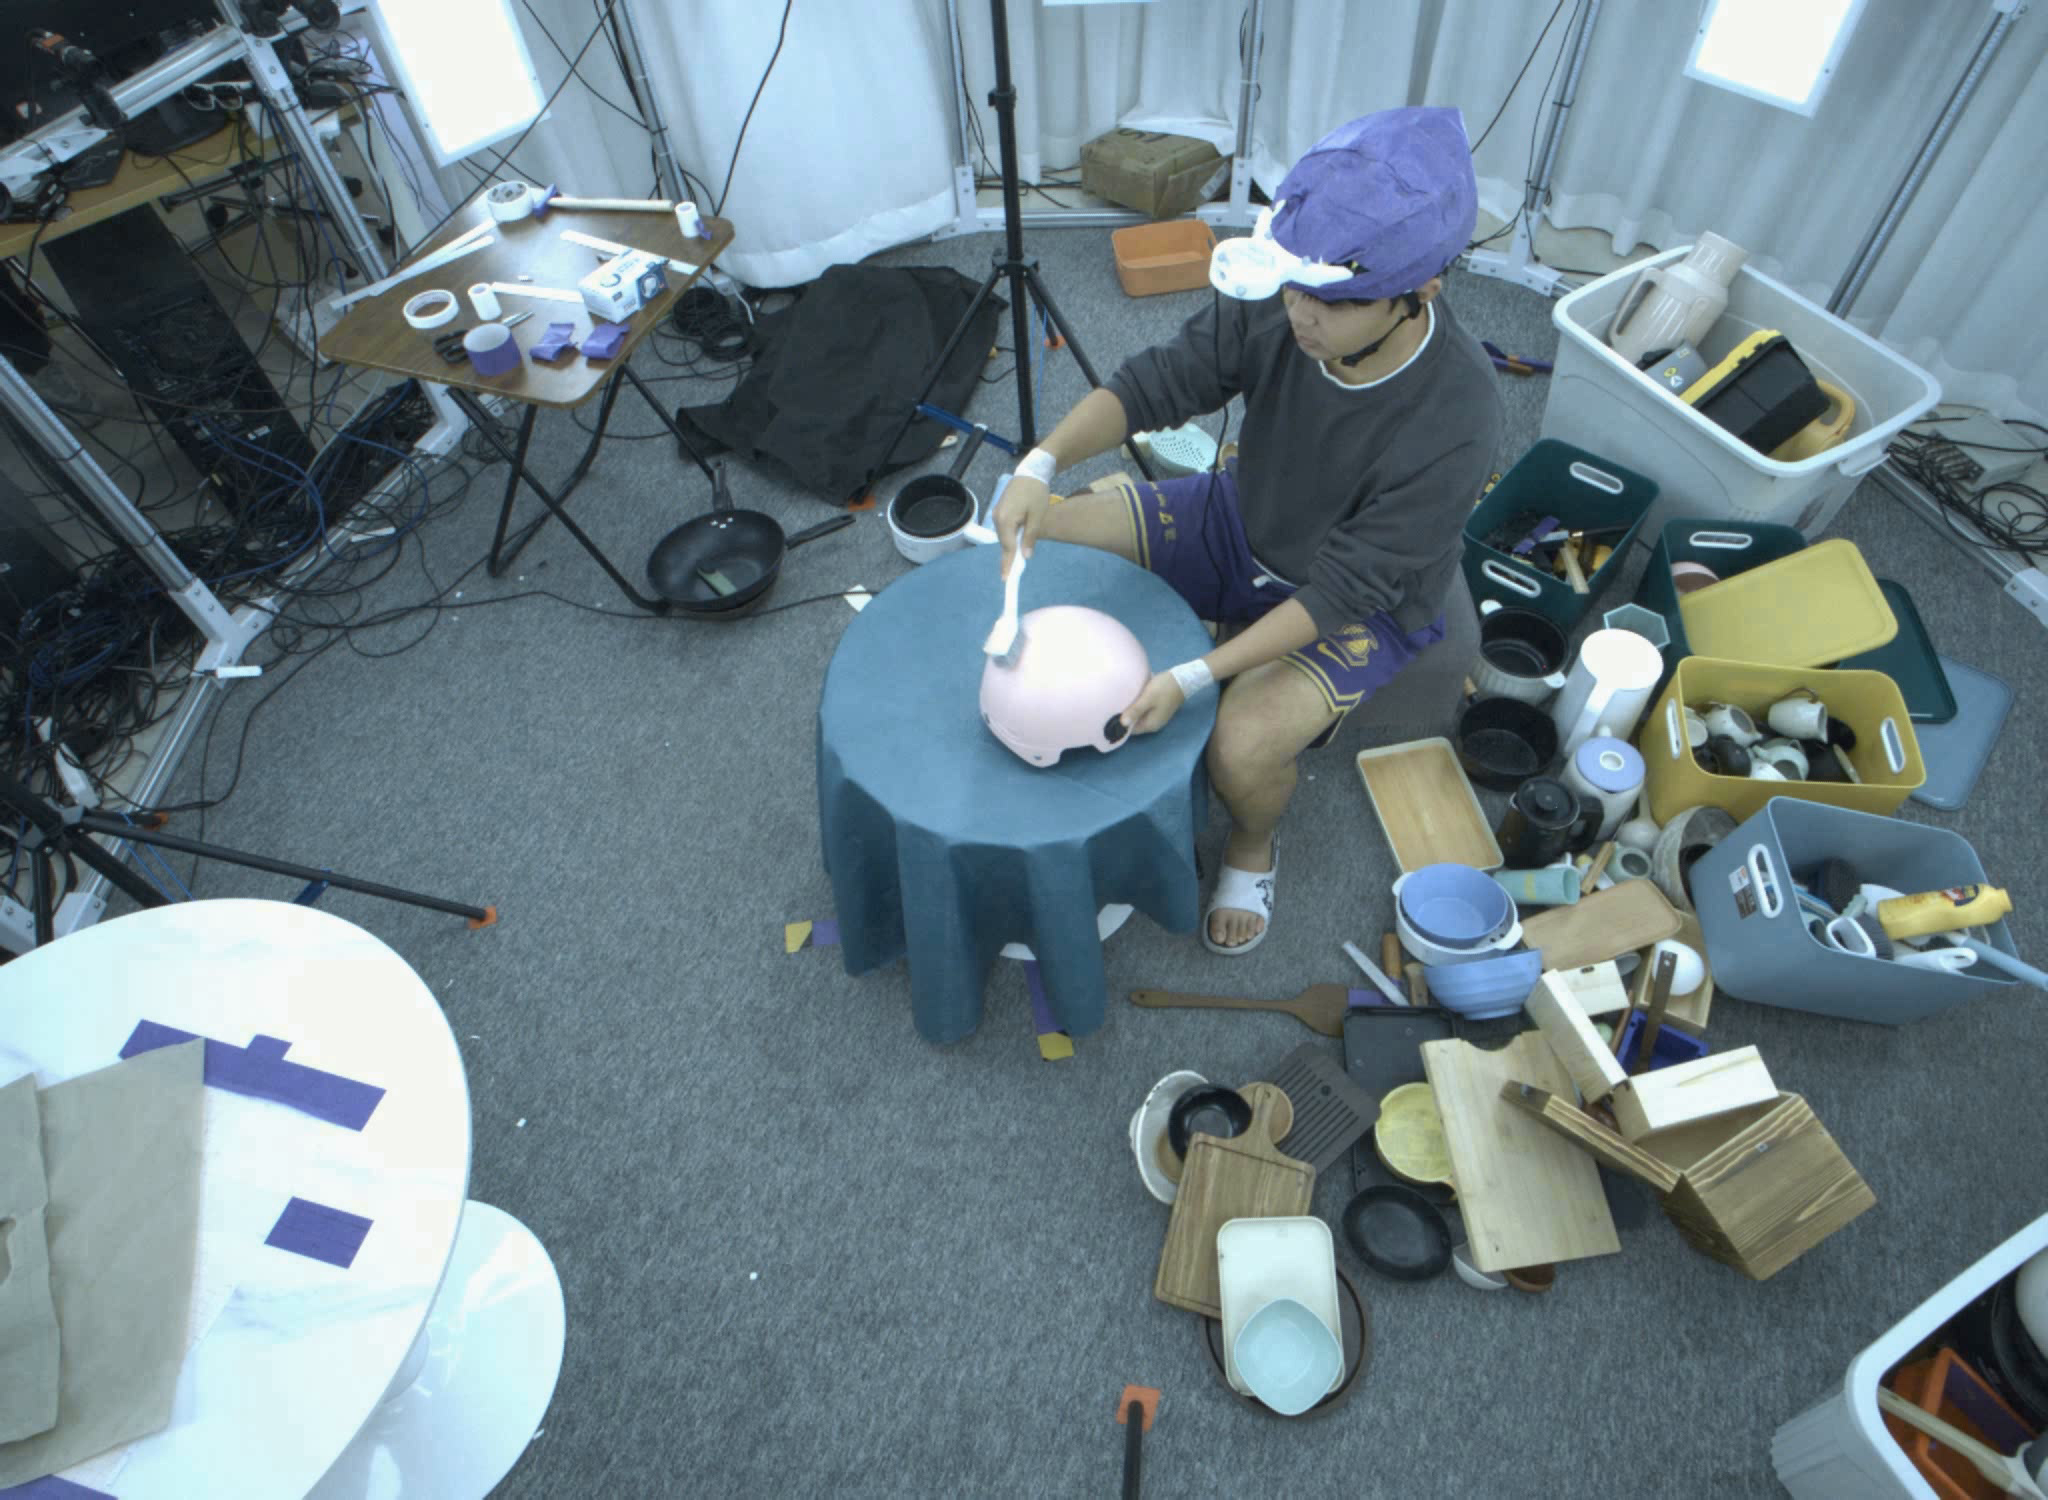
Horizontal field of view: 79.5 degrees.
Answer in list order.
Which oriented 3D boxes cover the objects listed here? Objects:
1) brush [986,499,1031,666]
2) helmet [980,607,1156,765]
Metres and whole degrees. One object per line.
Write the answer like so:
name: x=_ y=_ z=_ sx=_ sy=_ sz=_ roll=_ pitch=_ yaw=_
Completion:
brush: x=-0.010 y=-0.233 z=1.710 sx=0.034 sy=0.051 sz=0.242 roll=-1 pitch=72 yaw=34
helmet: x=0.064 y=-0.118 z=1.771 sx=0.268 sy=0.160 sz=0.229 roll=-20 pitch=51 yaw=-16
